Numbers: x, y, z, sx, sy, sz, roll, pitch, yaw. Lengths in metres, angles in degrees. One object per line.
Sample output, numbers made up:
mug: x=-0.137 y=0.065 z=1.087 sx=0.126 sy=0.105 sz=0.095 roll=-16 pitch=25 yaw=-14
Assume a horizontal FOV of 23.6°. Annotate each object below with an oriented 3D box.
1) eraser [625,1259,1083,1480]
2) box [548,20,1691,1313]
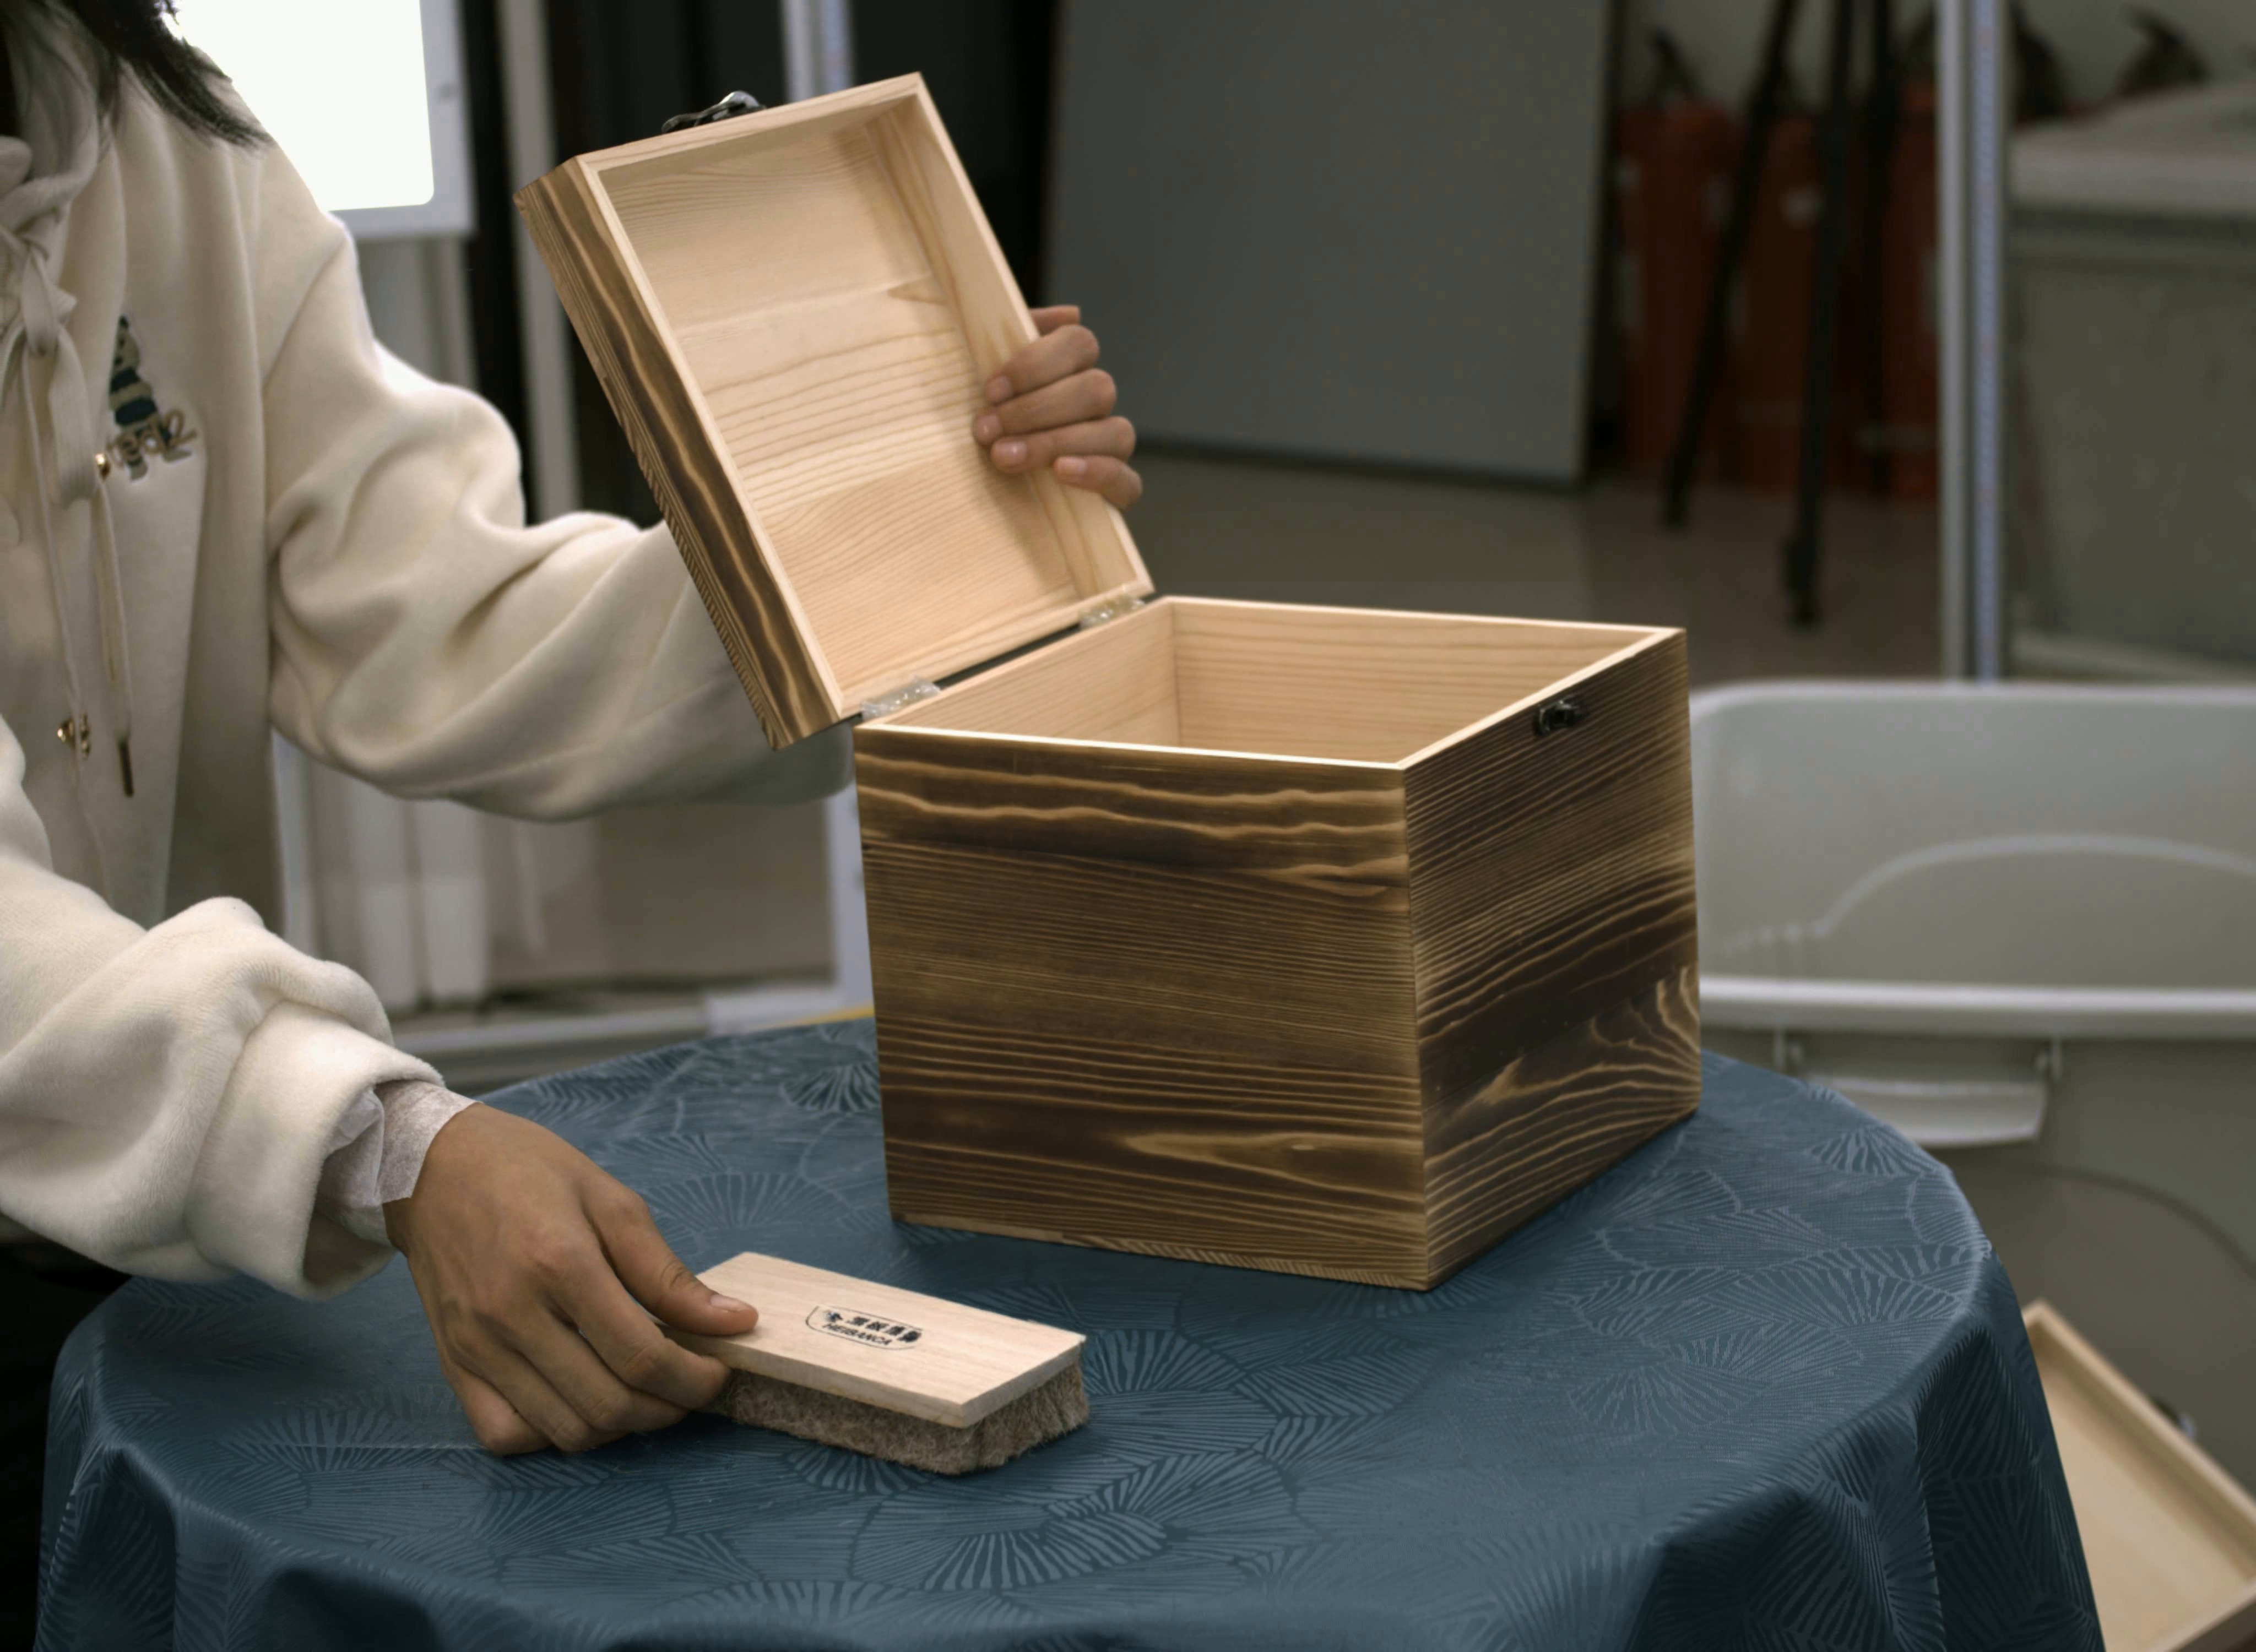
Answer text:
eraser: x=-0.080 y=0.159 z=1.577 sx=0.140 sy=0.029 sz=0.056 roll=8 pitch=22 yaw=43
box: x=0.002 y=-0.067 z=1.766 sx=0.323 sy=0.379 sz=0.205 roll=5 pitch=16 yaw=31
